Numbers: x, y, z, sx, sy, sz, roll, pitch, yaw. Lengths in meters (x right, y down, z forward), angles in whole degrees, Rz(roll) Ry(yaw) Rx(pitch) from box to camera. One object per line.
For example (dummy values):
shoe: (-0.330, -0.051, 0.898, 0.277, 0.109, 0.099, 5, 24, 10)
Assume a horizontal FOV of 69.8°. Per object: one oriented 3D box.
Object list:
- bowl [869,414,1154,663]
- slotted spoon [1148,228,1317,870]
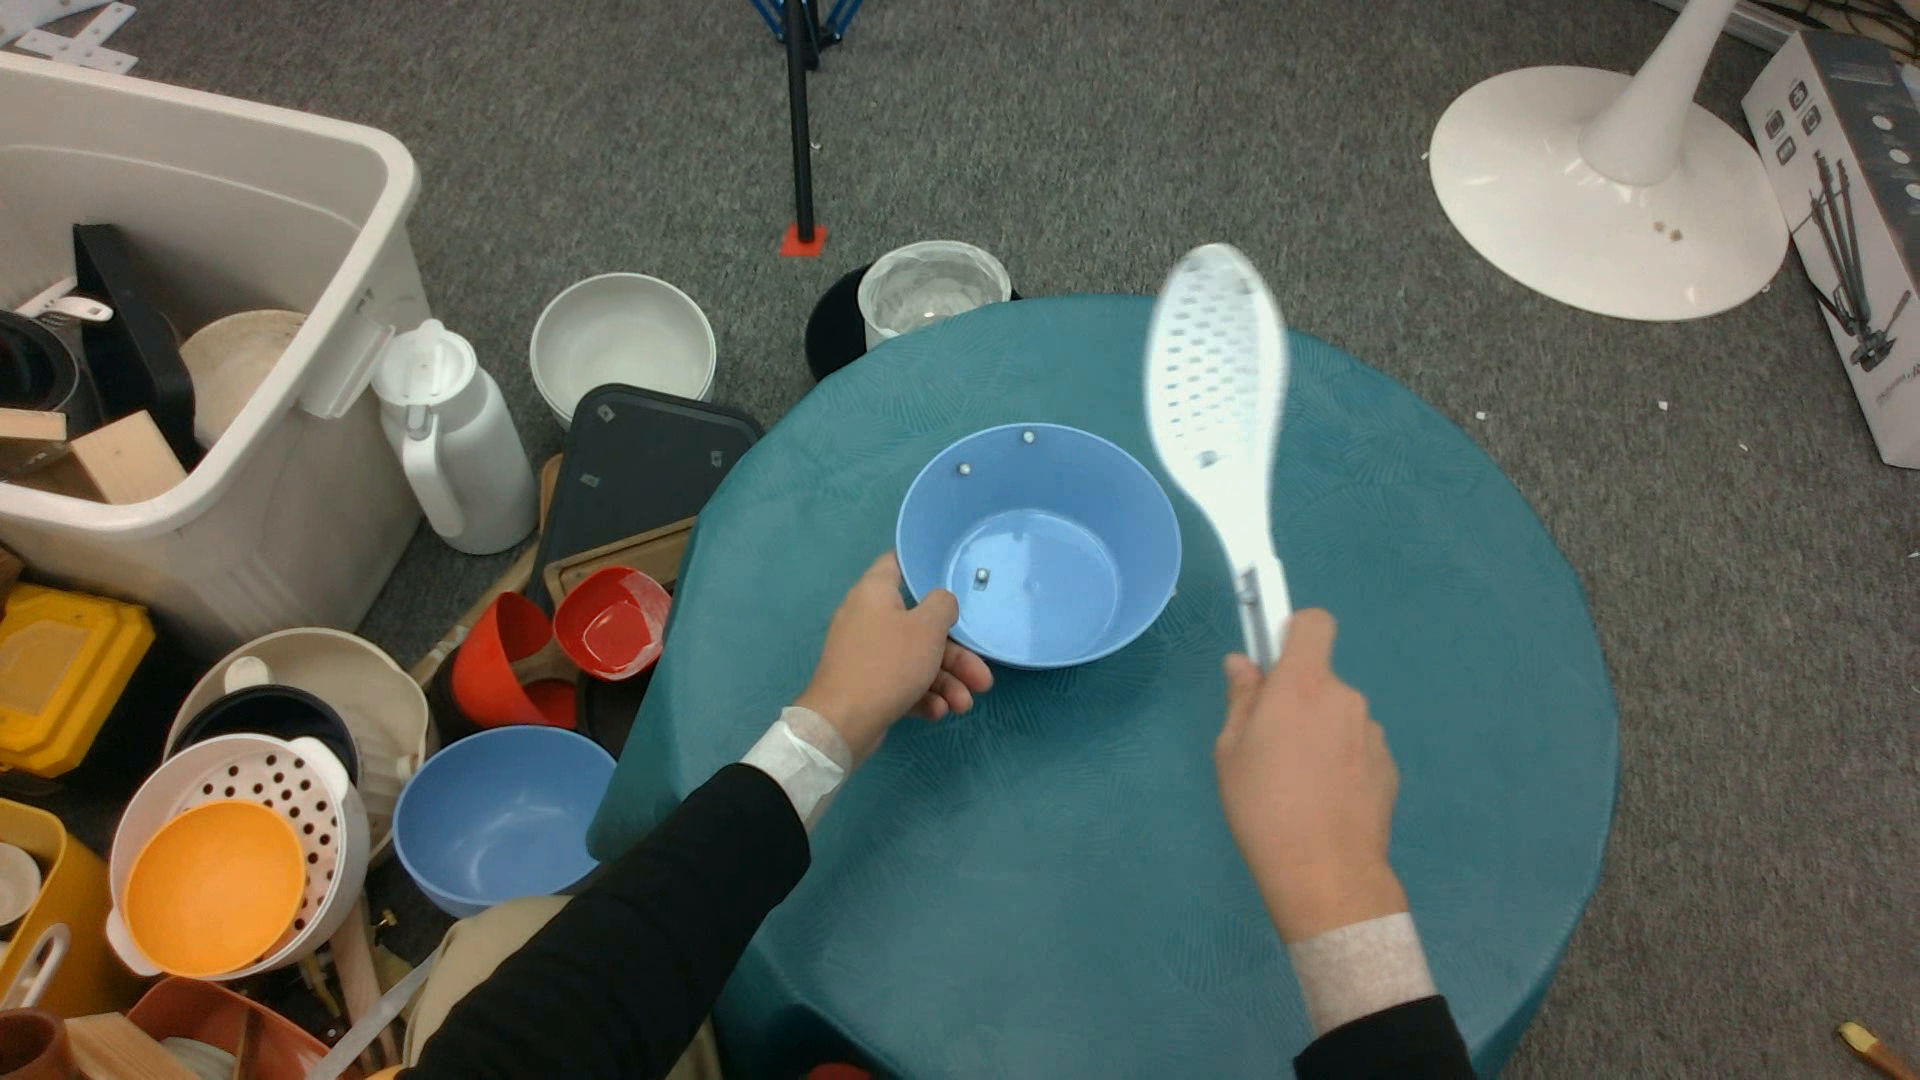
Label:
bowl: (0.030, 0.011, 0.868, 0.176, 0.070, 0.177, 2, 59, -3)
slotted spoon: (0.148, -0.005, 0.724, 0.046, 0.135, 0.351, 9, 64, -16)
